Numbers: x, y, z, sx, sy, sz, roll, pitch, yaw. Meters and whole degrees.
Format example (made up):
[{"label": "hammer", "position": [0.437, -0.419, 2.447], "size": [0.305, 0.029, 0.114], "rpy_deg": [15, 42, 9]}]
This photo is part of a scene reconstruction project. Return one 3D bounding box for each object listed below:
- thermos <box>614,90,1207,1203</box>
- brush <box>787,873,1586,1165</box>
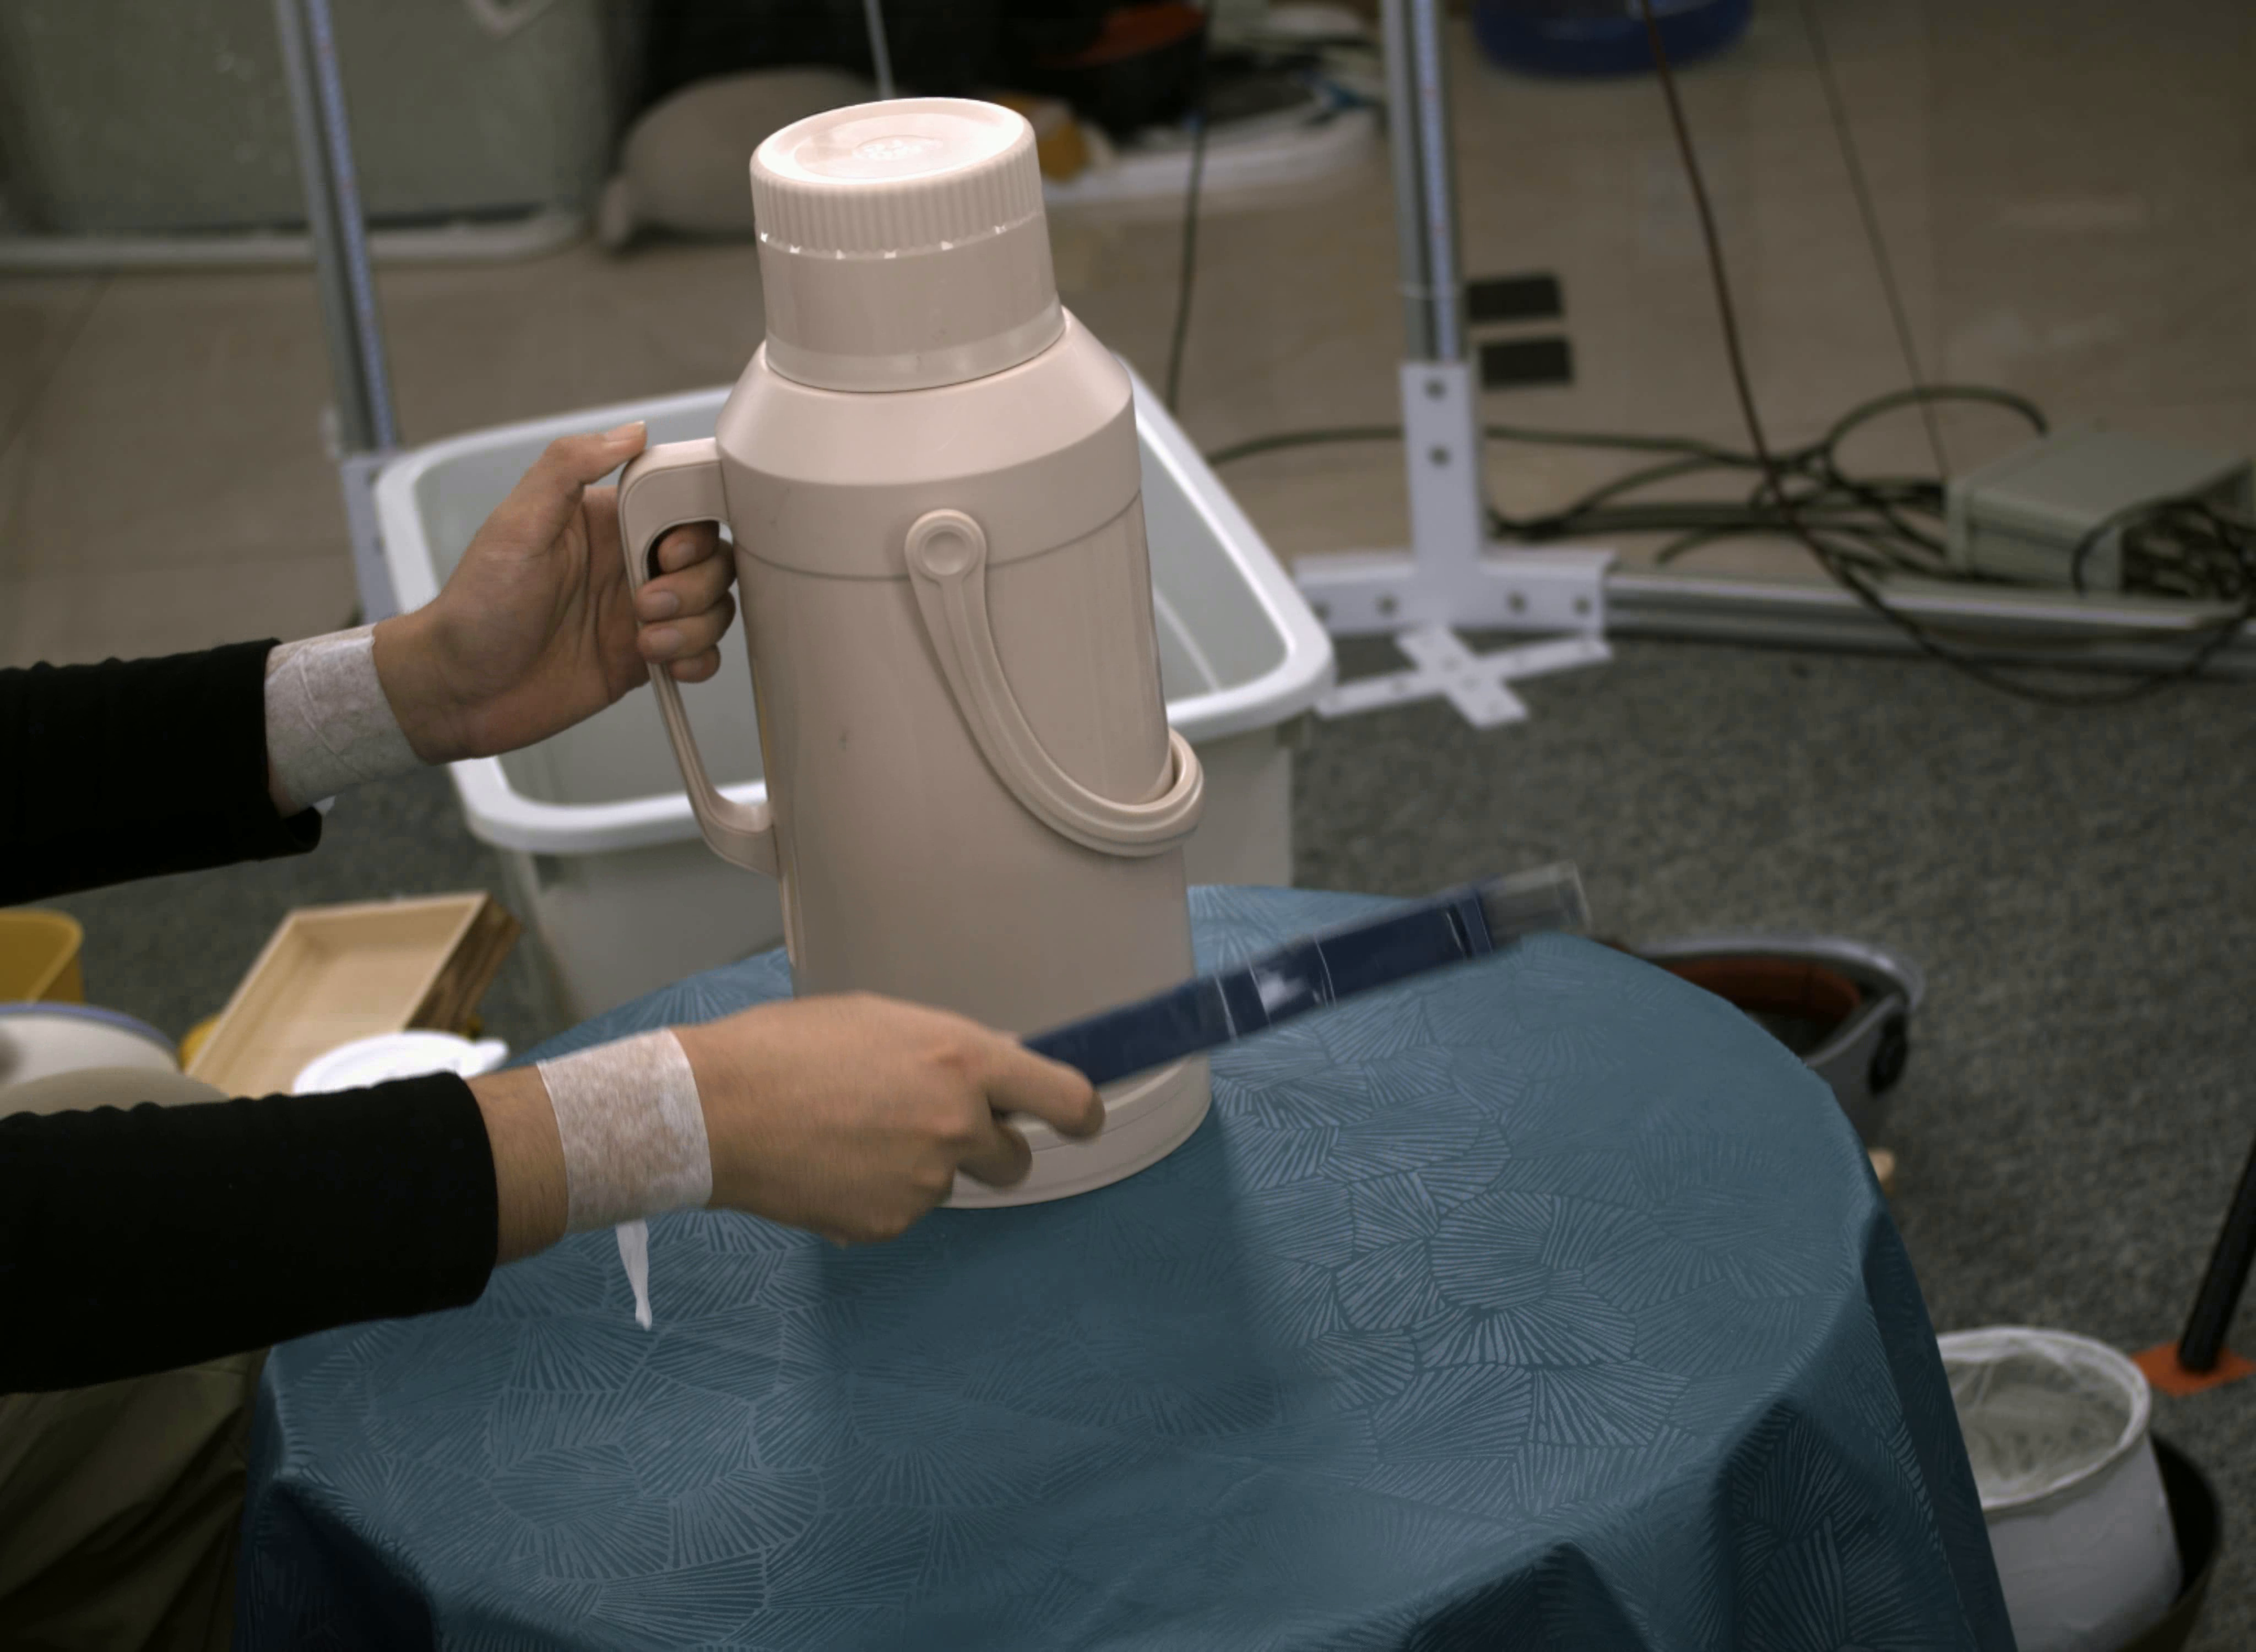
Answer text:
[{"label": "thermos", "position": [-0.081, -0.067, 2.132], "size": [0.206, 0.413, 0.172], "rpy_deg": [-8, 27, -3]}, {"label": "brush", "position": [0.019, 0.061, 1.950], "size": [0.272, 0.033, 0.096], "rpy_deg": [-18, 4, -22]}]
